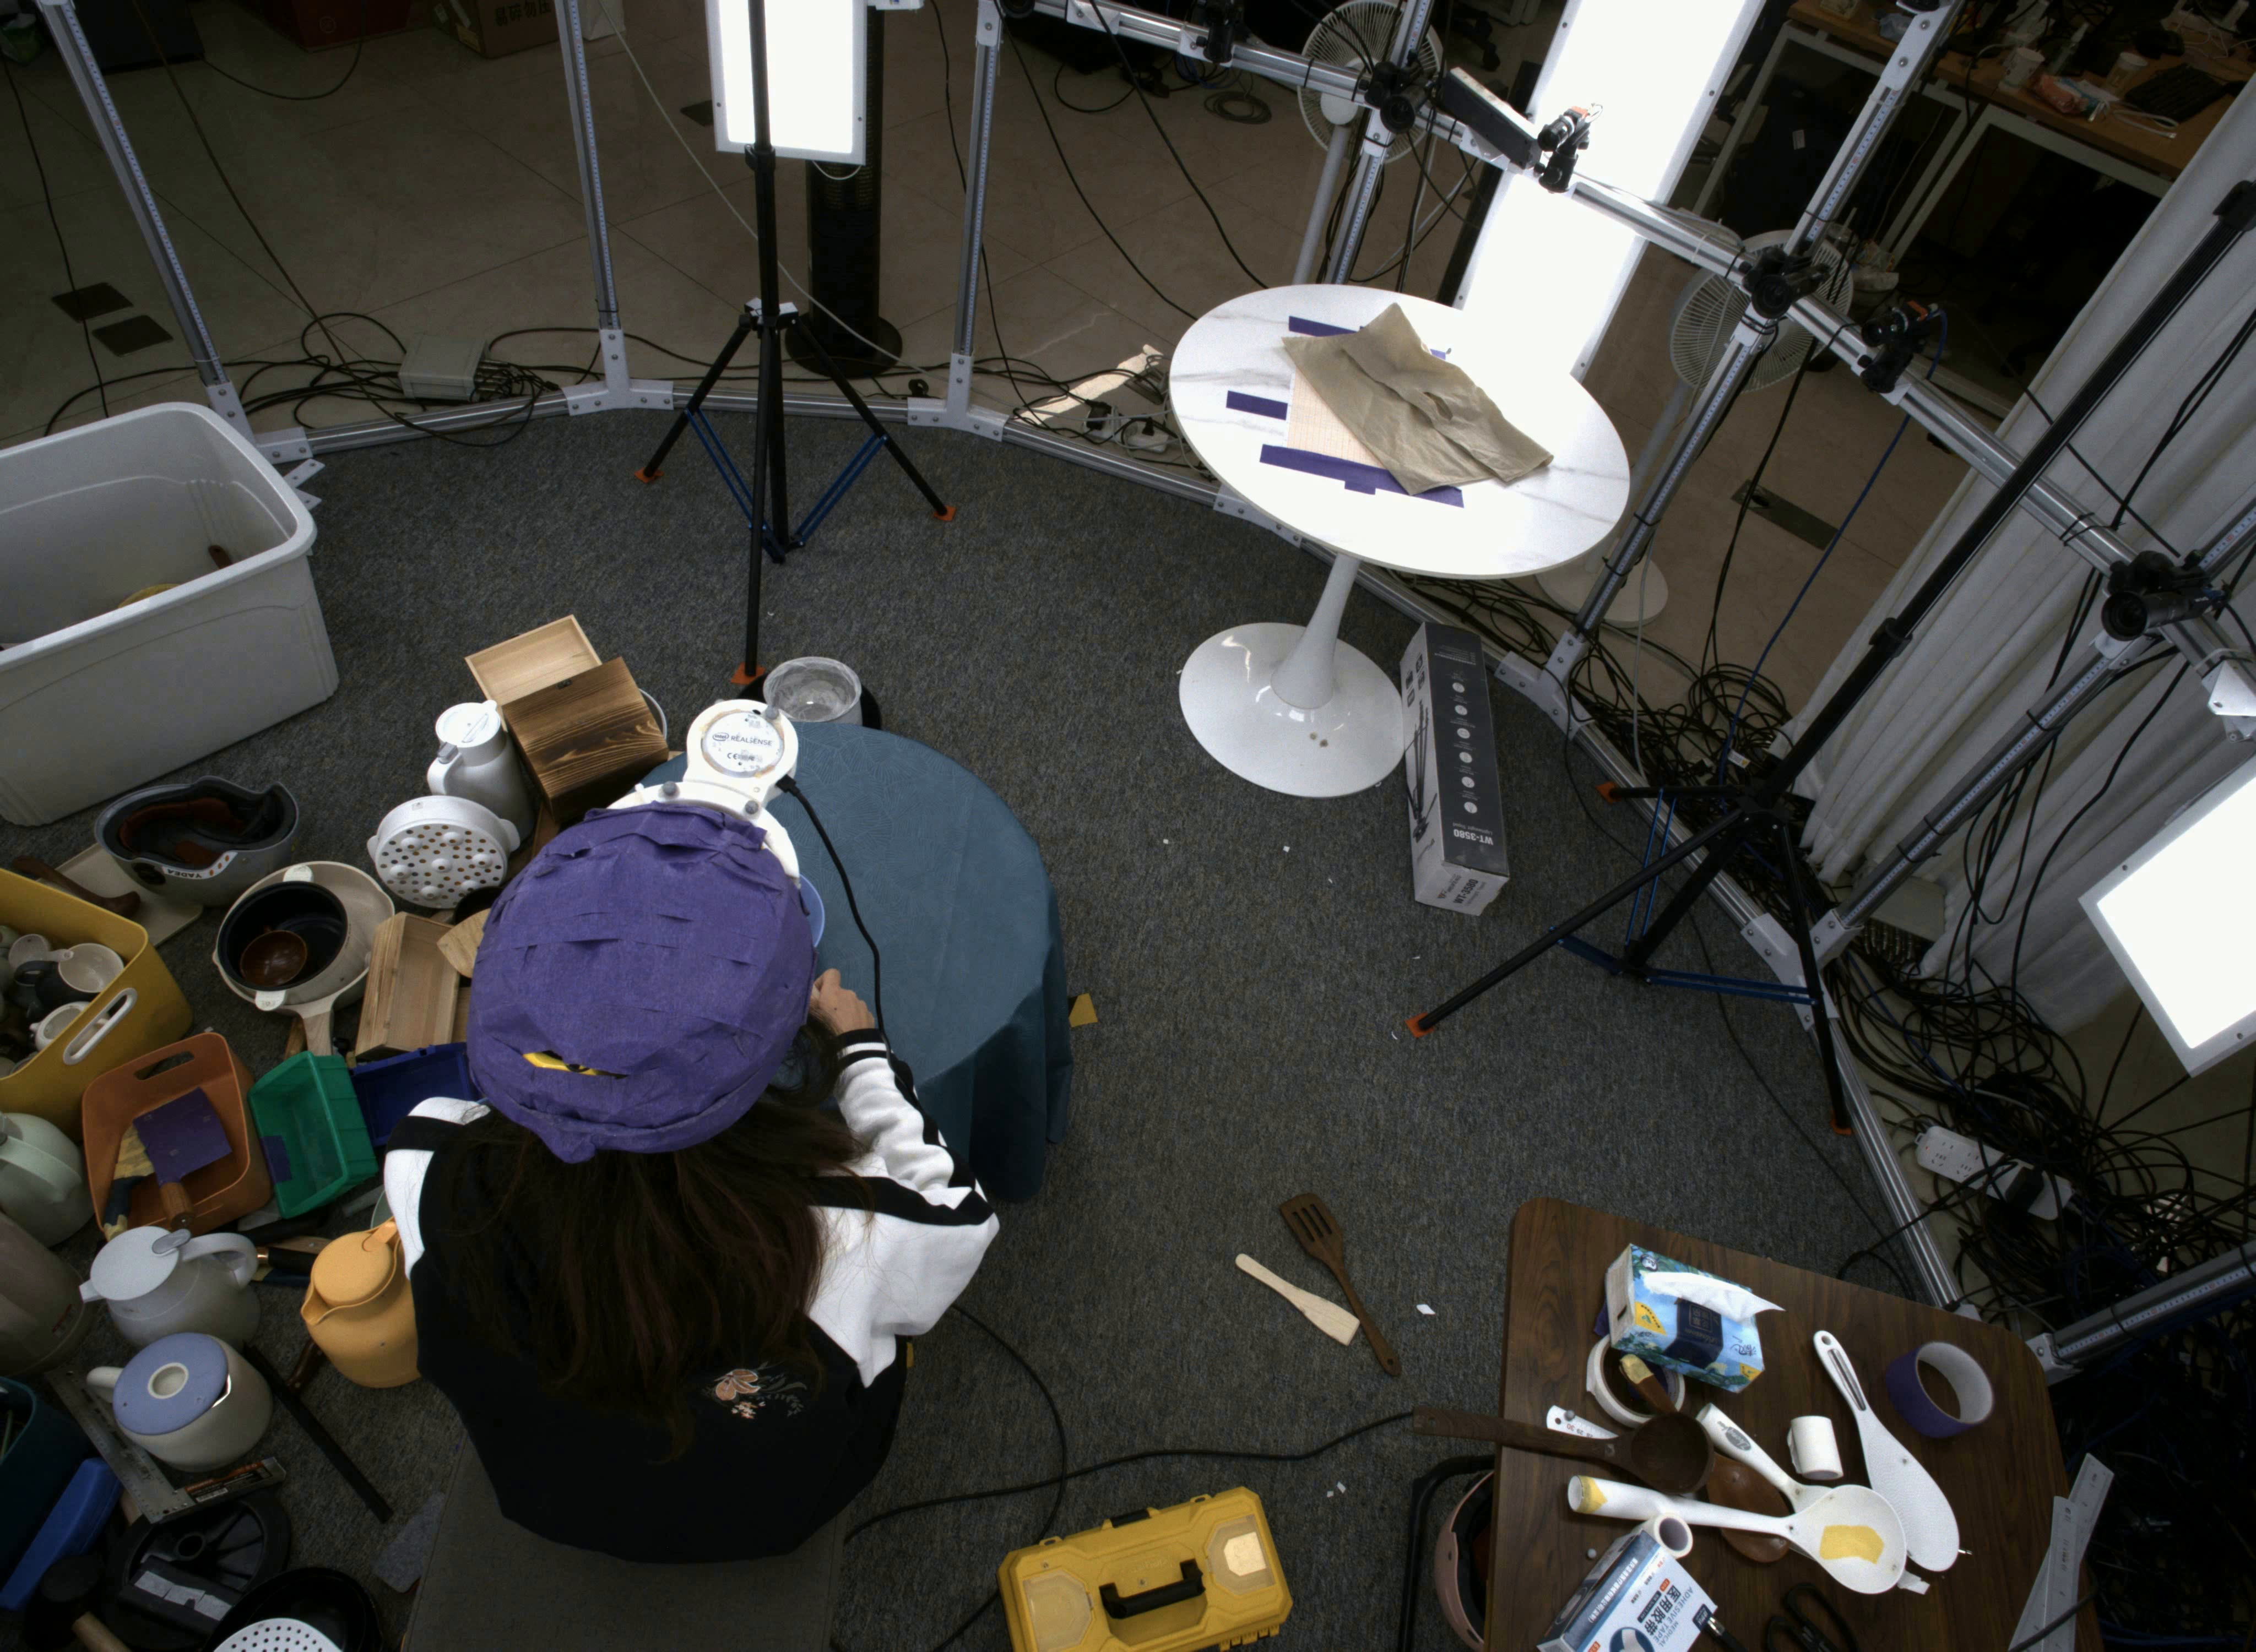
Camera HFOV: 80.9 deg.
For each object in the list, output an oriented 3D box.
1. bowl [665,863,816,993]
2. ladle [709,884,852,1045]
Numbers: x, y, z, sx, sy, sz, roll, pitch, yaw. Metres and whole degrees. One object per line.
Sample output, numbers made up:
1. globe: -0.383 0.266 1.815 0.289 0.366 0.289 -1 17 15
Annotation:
1. bowl: -0.465 0.132 1.564 0.175 0.072 0.173 7 52 -8
2. ladle: -0.398 0.154 1.469 0.072 0.075 0.245 -49 55 1
